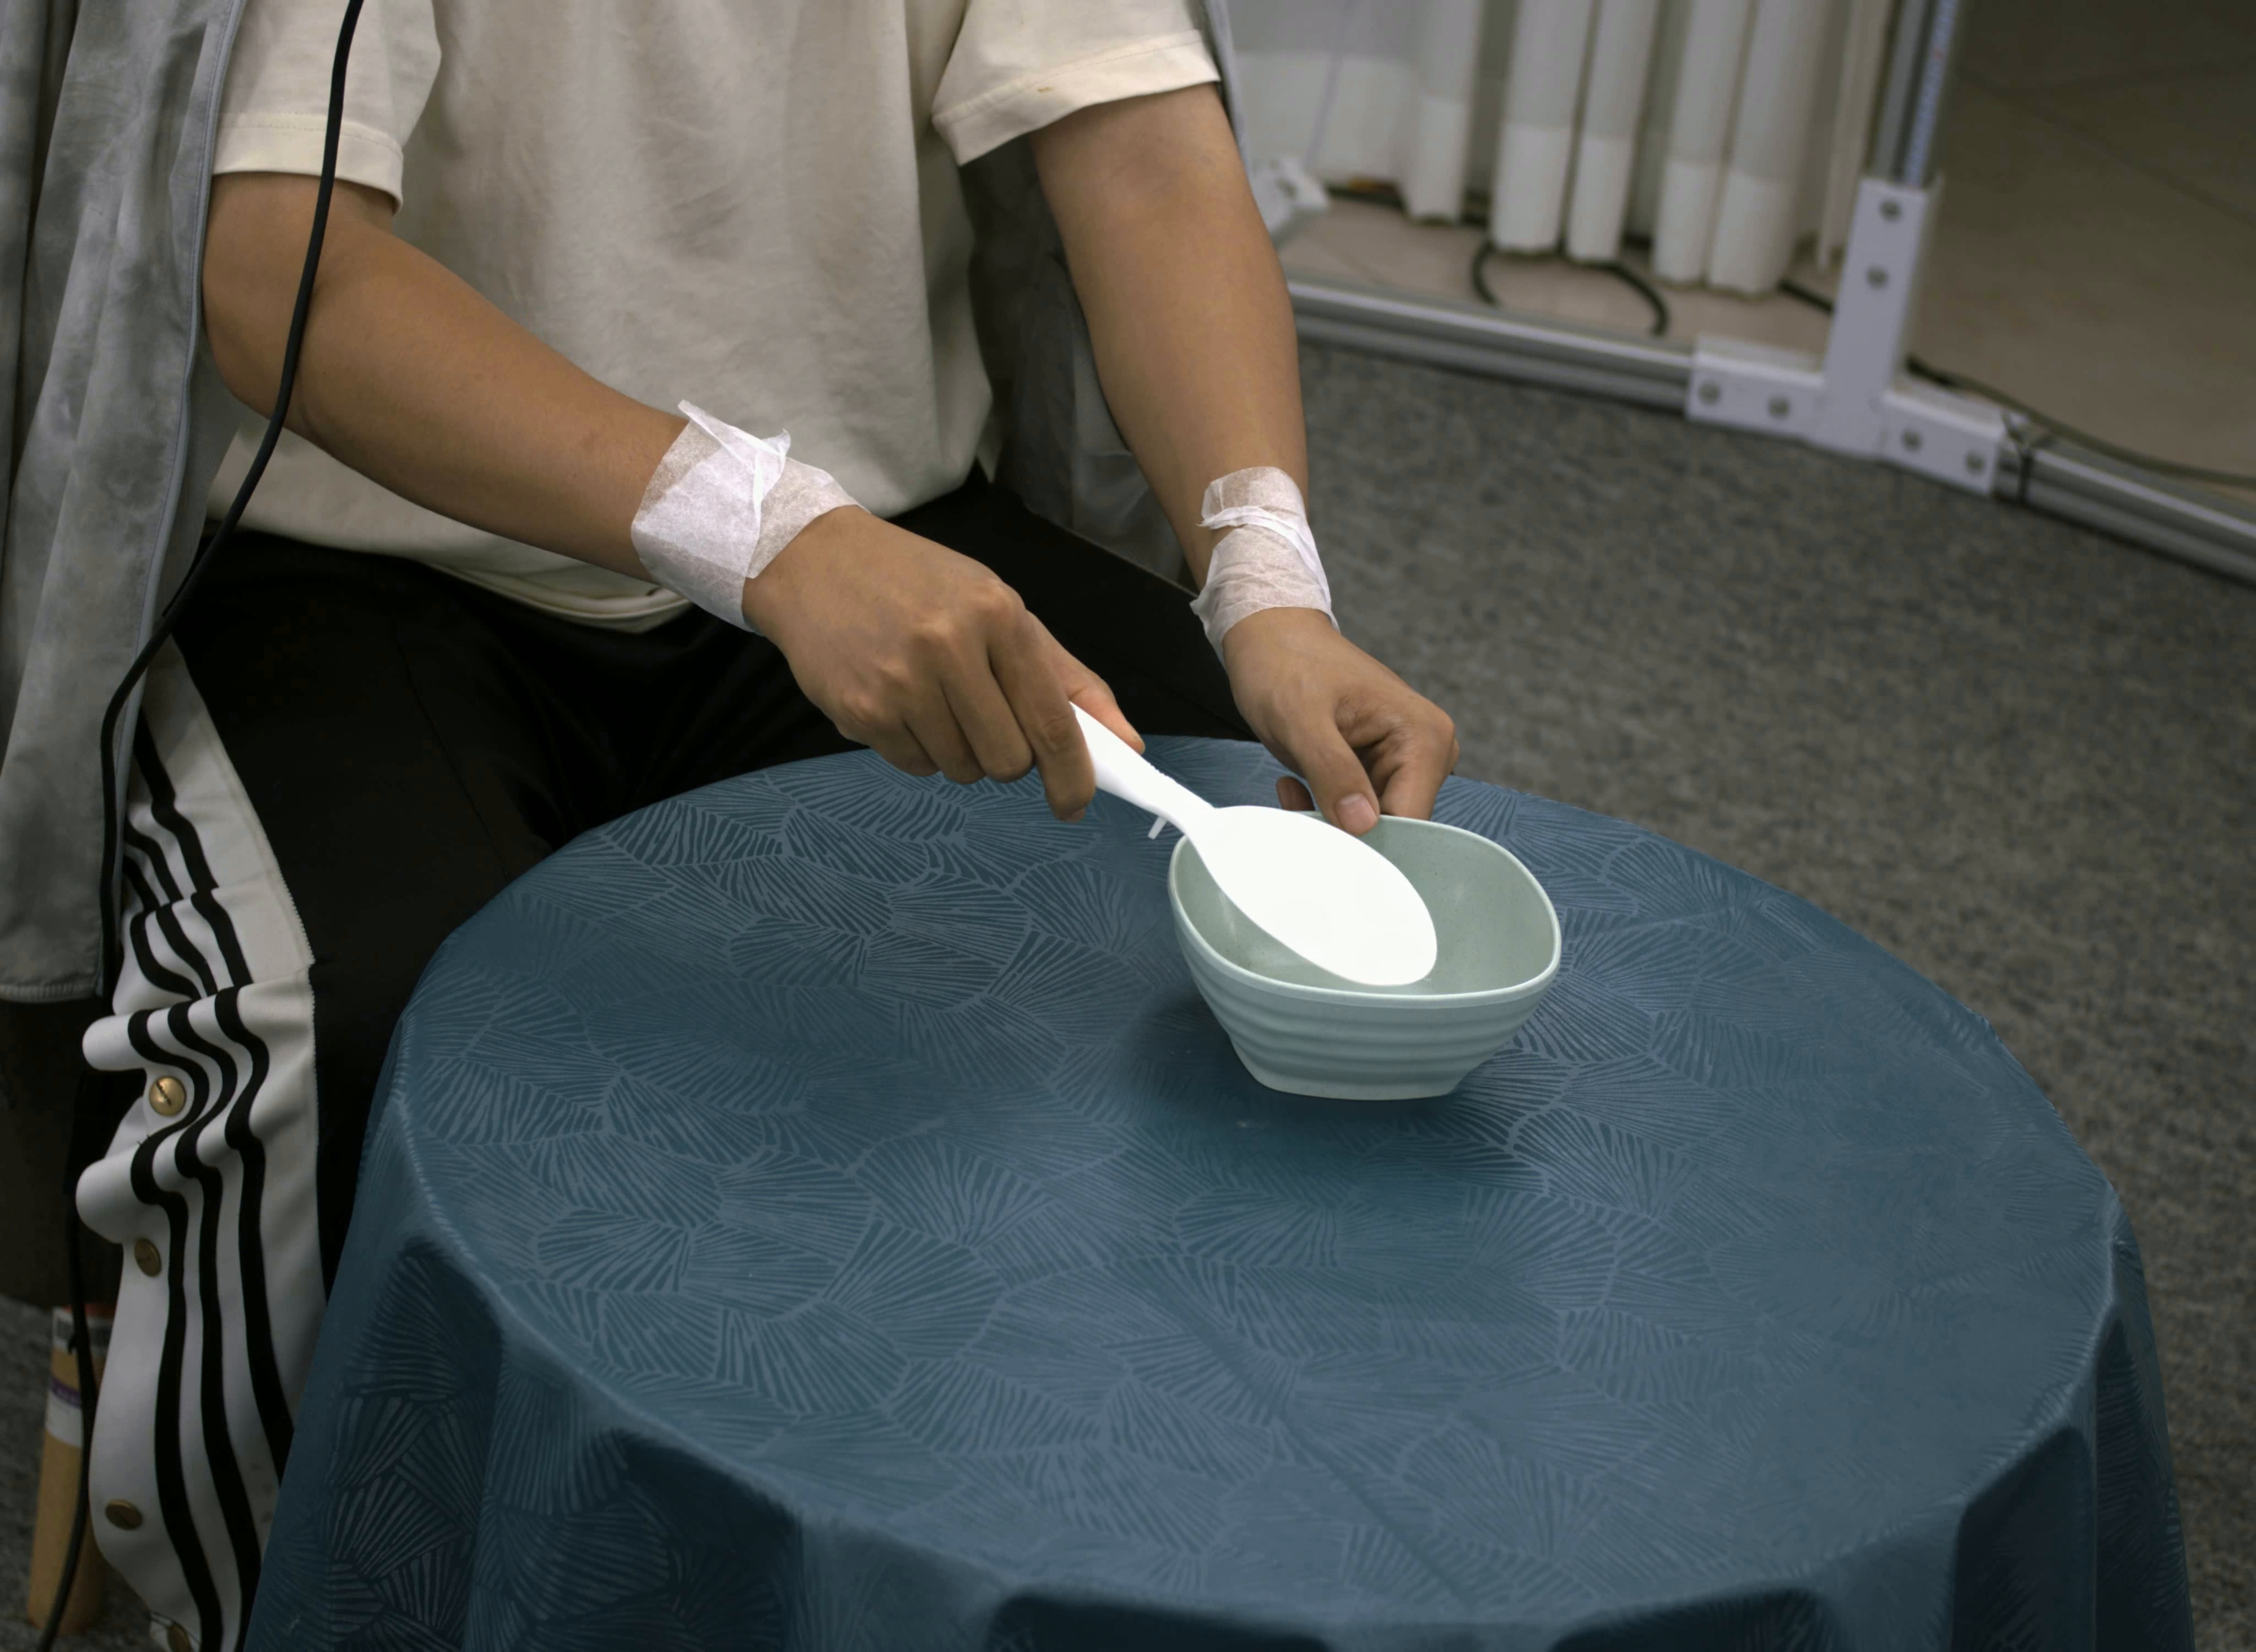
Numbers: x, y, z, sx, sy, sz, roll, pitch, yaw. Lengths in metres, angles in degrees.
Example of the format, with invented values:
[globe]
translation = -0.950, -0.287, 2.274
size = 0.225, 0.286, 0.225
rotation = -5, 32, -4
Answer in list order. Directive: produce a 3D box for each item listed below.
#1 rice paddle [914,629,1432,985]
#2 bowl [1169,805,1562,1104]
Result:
[rice paddle]
translation = 0.020, -0.006, 1.875
size = 0.205, 0.029, 0.069
rotation = 30, 43, -2
[bowl]
translation = 0.082, 0.052, 1.901
size = 0.151, 0.058, 0.152
rotation = 5, 30, -3
